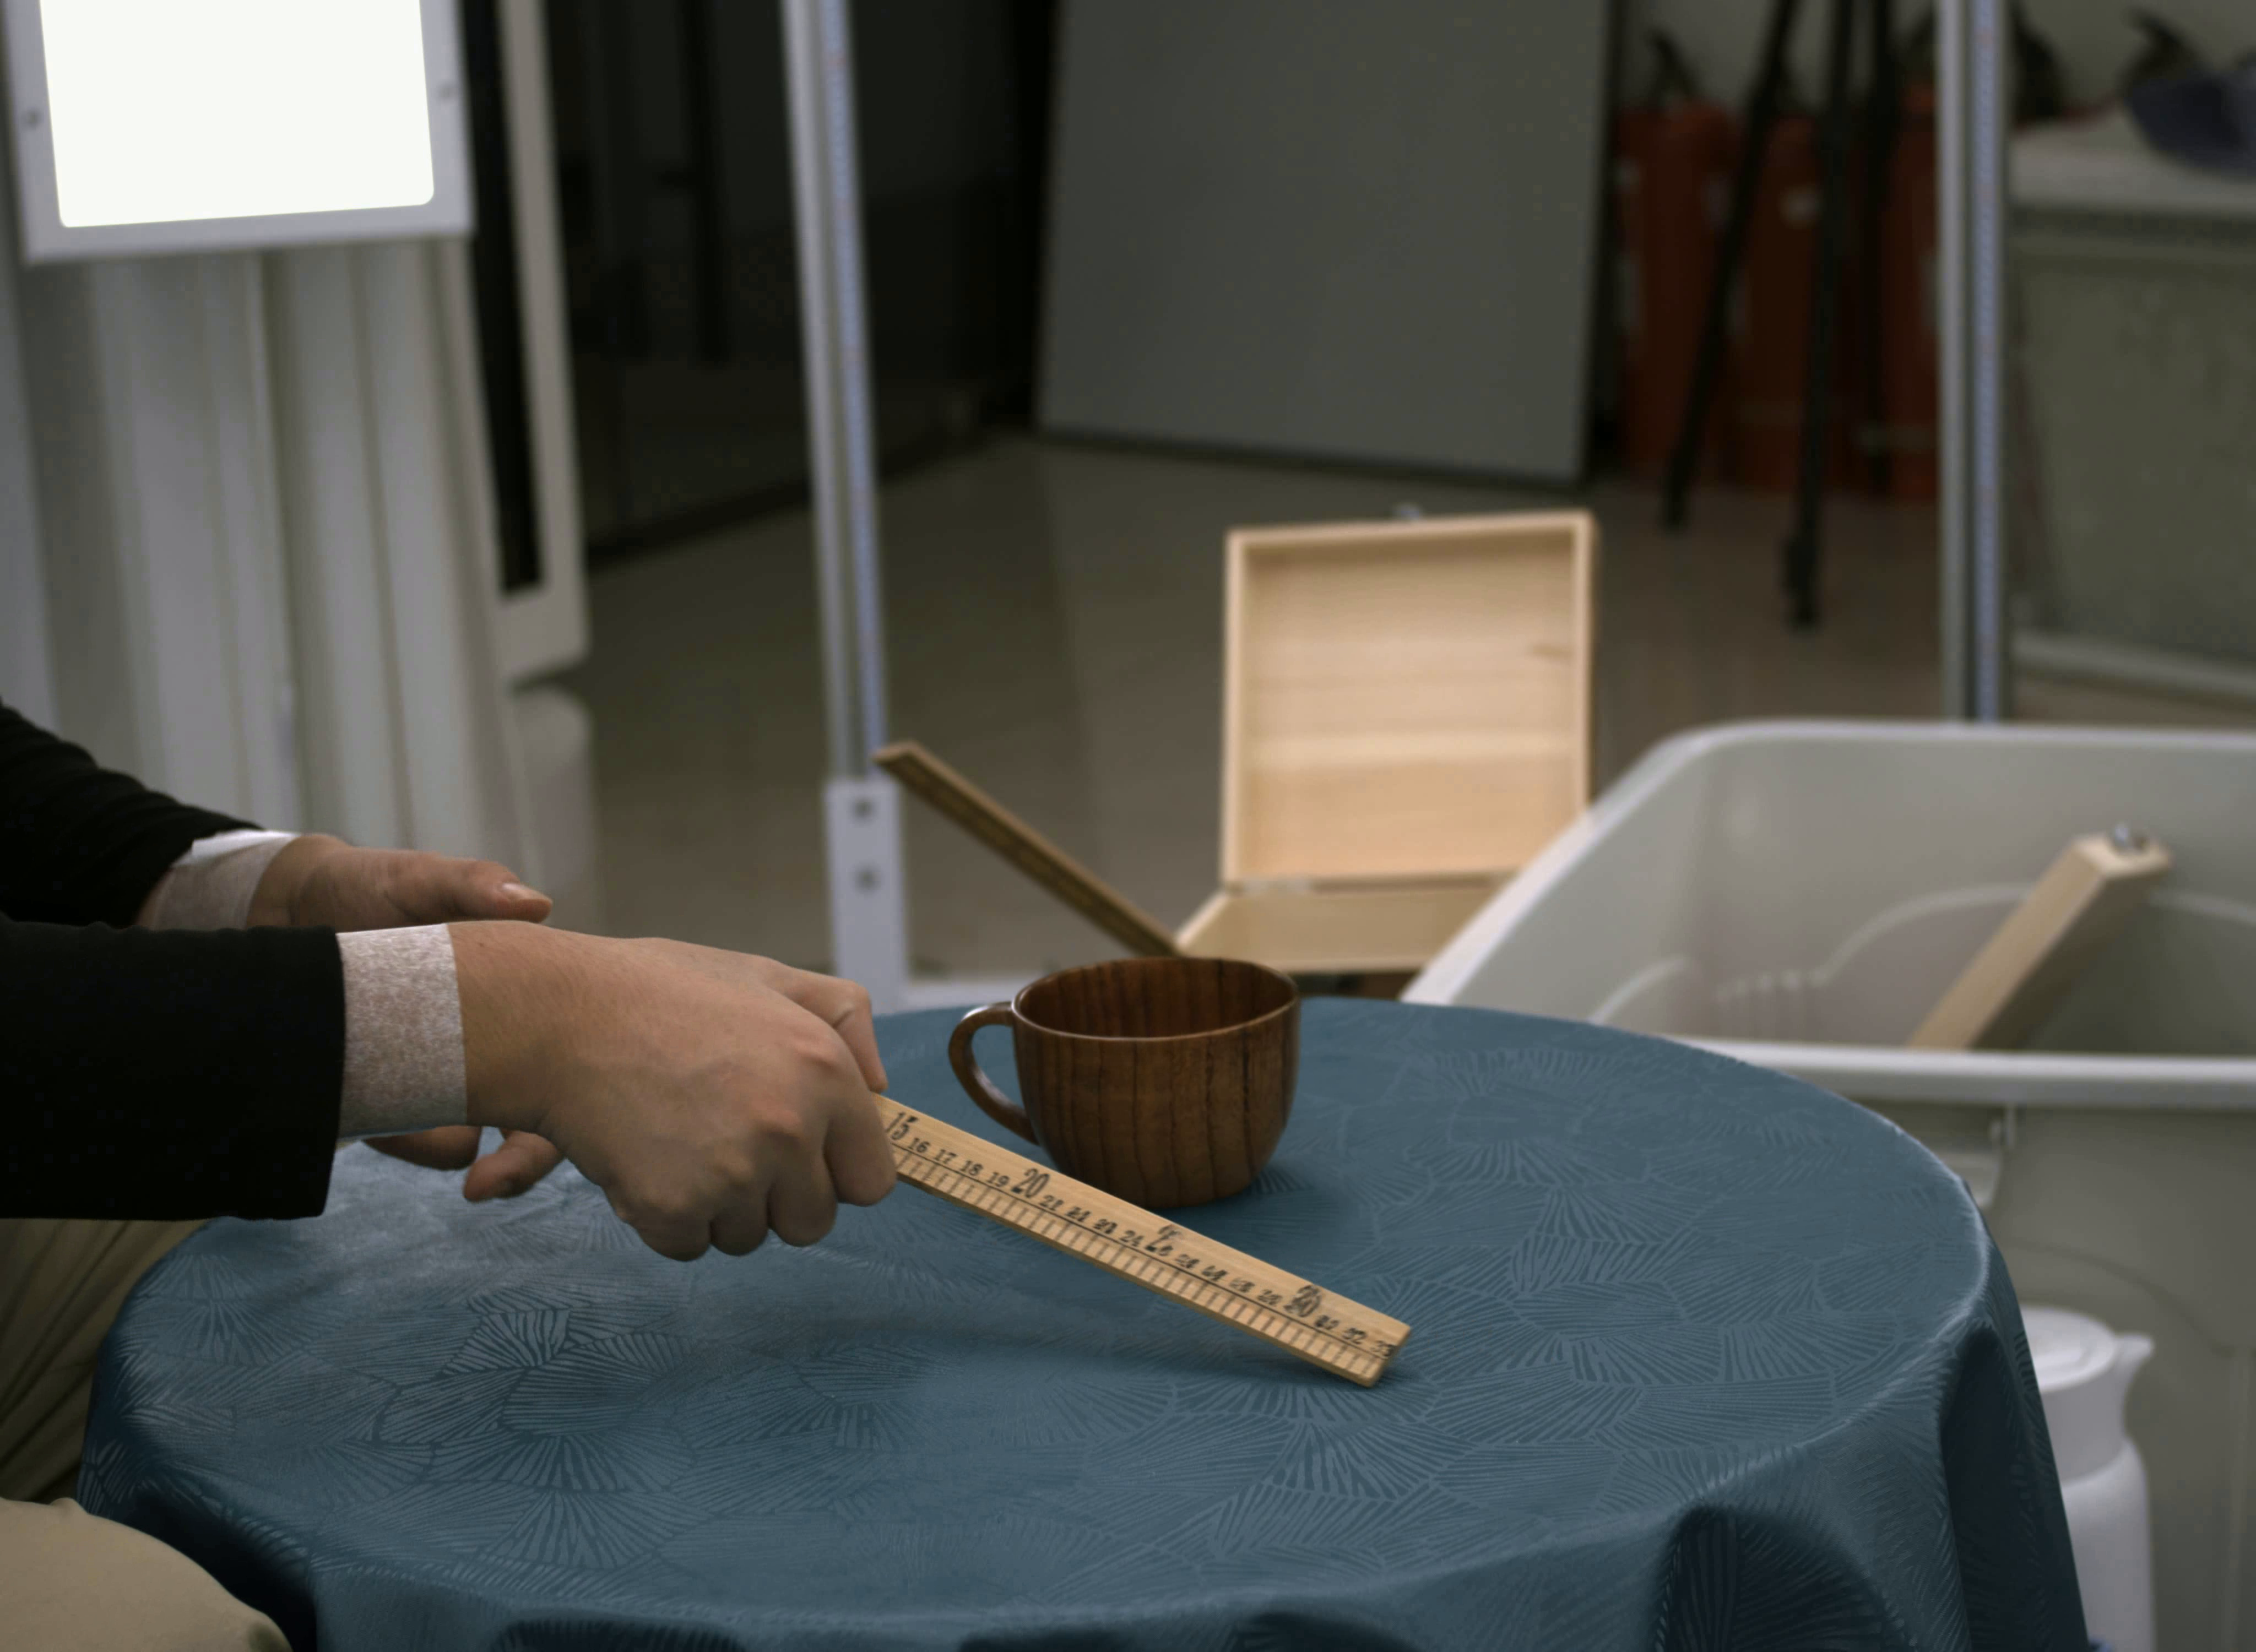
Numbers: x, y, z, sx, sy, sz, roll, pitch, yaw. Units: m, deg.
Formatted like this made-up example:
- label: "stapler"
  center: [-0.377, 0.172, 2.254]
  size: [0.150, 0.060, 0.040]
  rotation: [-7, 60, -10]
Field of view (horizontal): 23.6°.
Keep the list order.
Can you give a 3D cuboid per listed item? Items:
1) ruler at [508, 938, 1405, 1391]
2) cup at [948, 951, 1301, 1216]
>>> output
- label: "ruler"
  center: [-0.059, 0.098, 1.658]
  size: [0.334, 0.022, 0.027]
  rotation: [23, 45, 29]
- label: "cup"
  center: [0.000, 0.086, 1.775]
  size: [0.119, 0.068, 0.095]
  rotation: [-2, 16, 14]
